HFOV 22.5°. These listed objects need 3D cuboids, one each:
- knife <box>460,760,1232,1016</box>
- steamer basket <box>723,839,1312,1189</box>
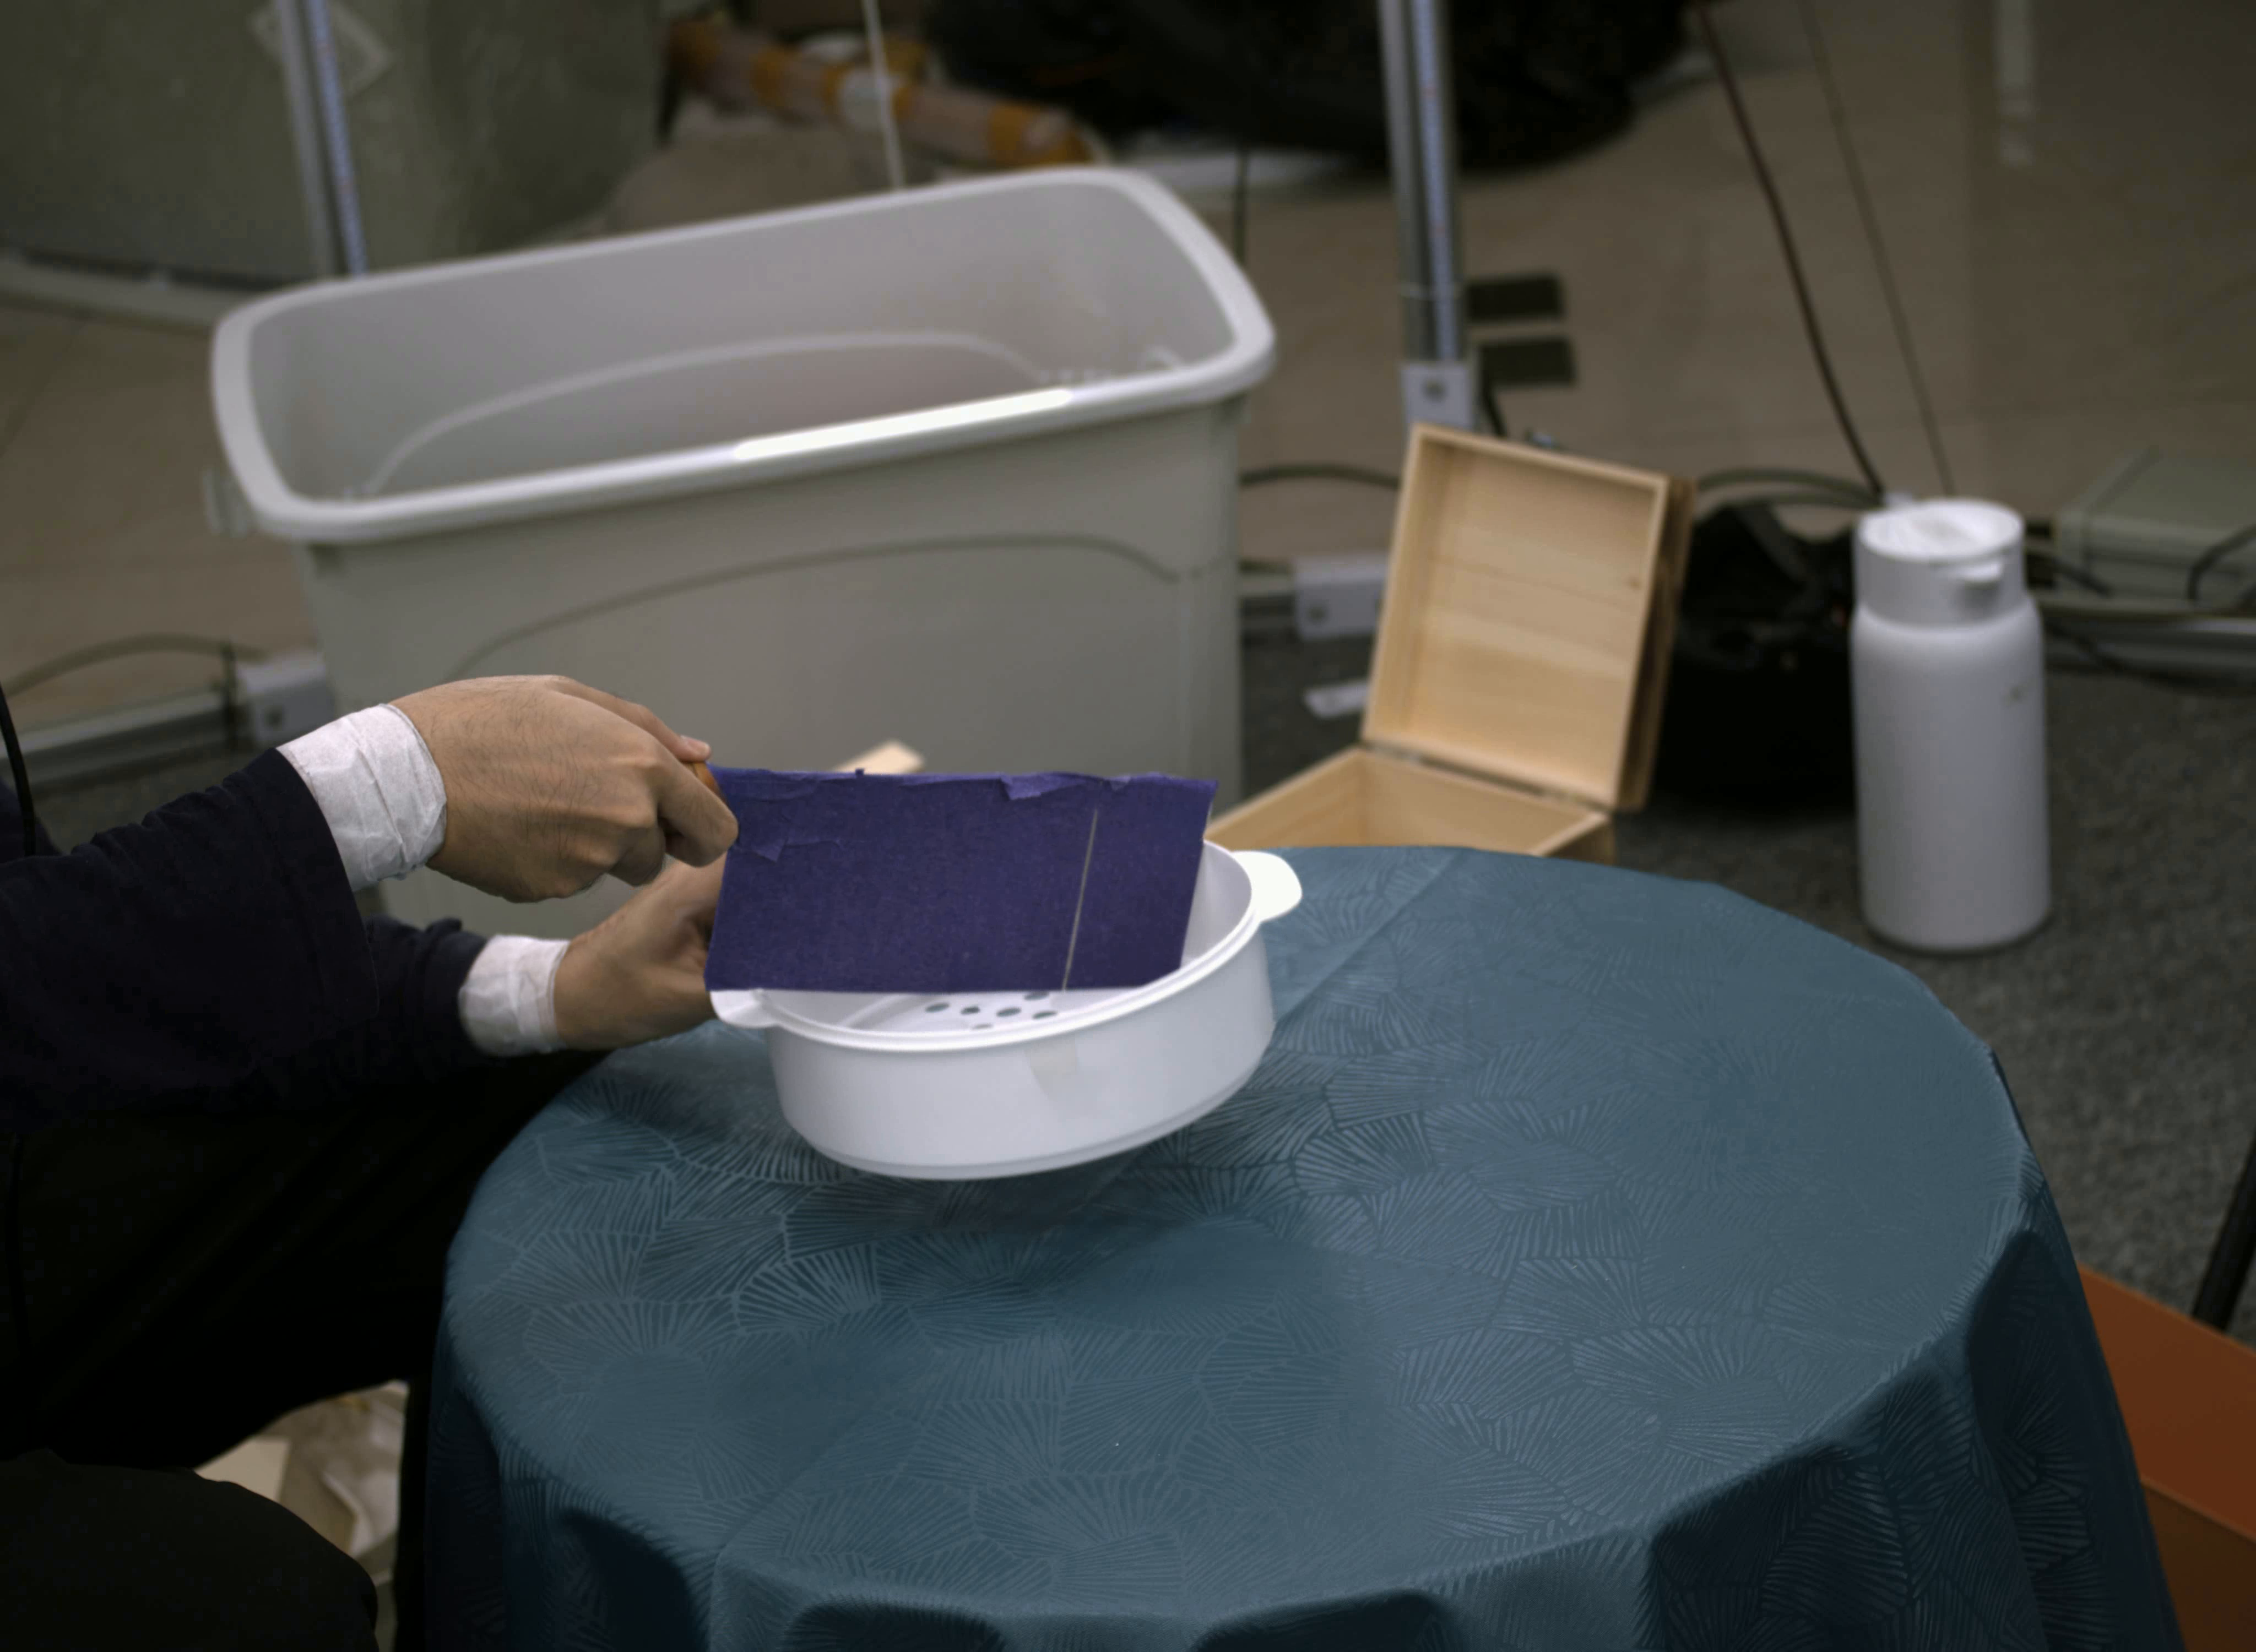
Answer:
[{"bbox_3d":[-0.104,0.022,2.129,0.315,0.105,0.032,1,22,-27],"label":"knife"},{"bbox_3d":[-0.037,0.071,2.173,0.230,0.070,0.199,-14,21,-4],"label":"steamer basket"}]
